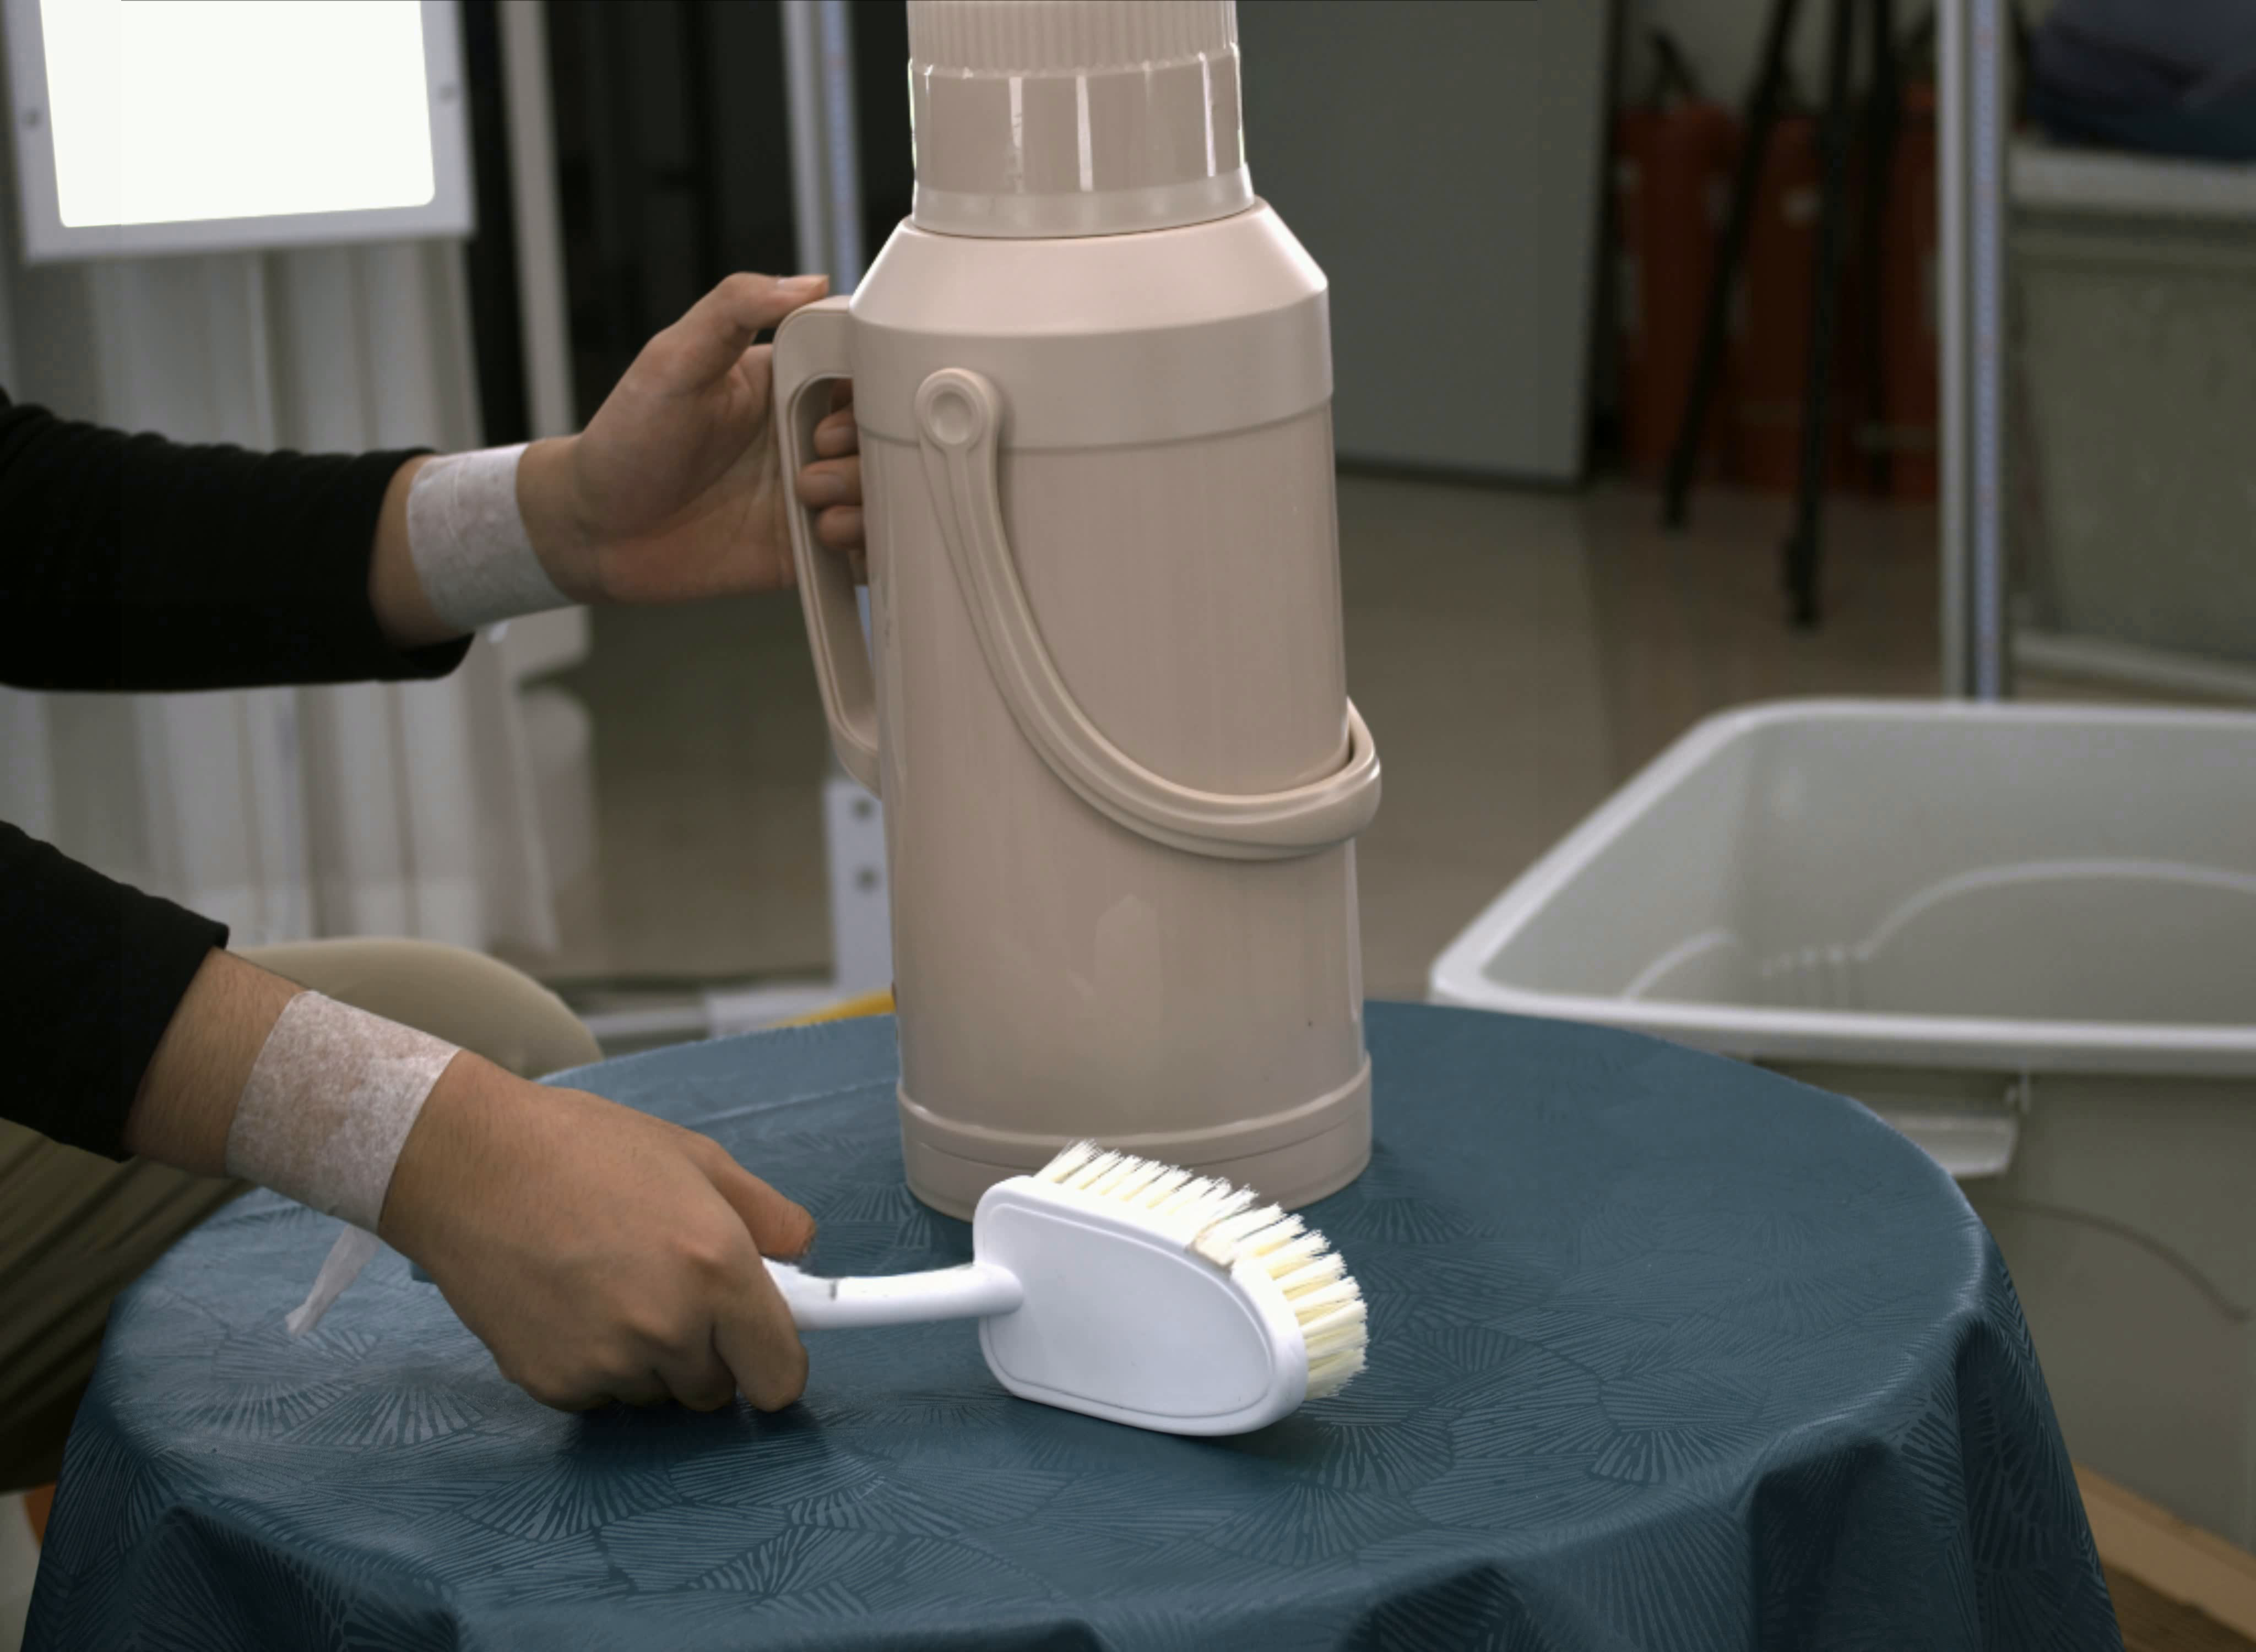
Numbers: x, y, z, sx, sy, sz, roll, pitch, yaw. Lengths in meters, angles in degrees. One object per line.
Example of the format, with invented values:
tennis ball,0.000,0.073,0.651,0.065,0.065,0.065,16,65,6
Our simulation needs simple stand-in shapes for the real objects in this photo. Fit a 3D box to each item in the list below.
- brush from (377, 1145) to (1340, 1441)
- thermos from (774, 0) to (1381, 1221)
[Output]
brush,-0.078,0.126,1.606,0.327,0.084,0.083,6,-22,30
thermos,-0.019,-0.082,1.764,0.208,0.410,0.173,4,17,30
